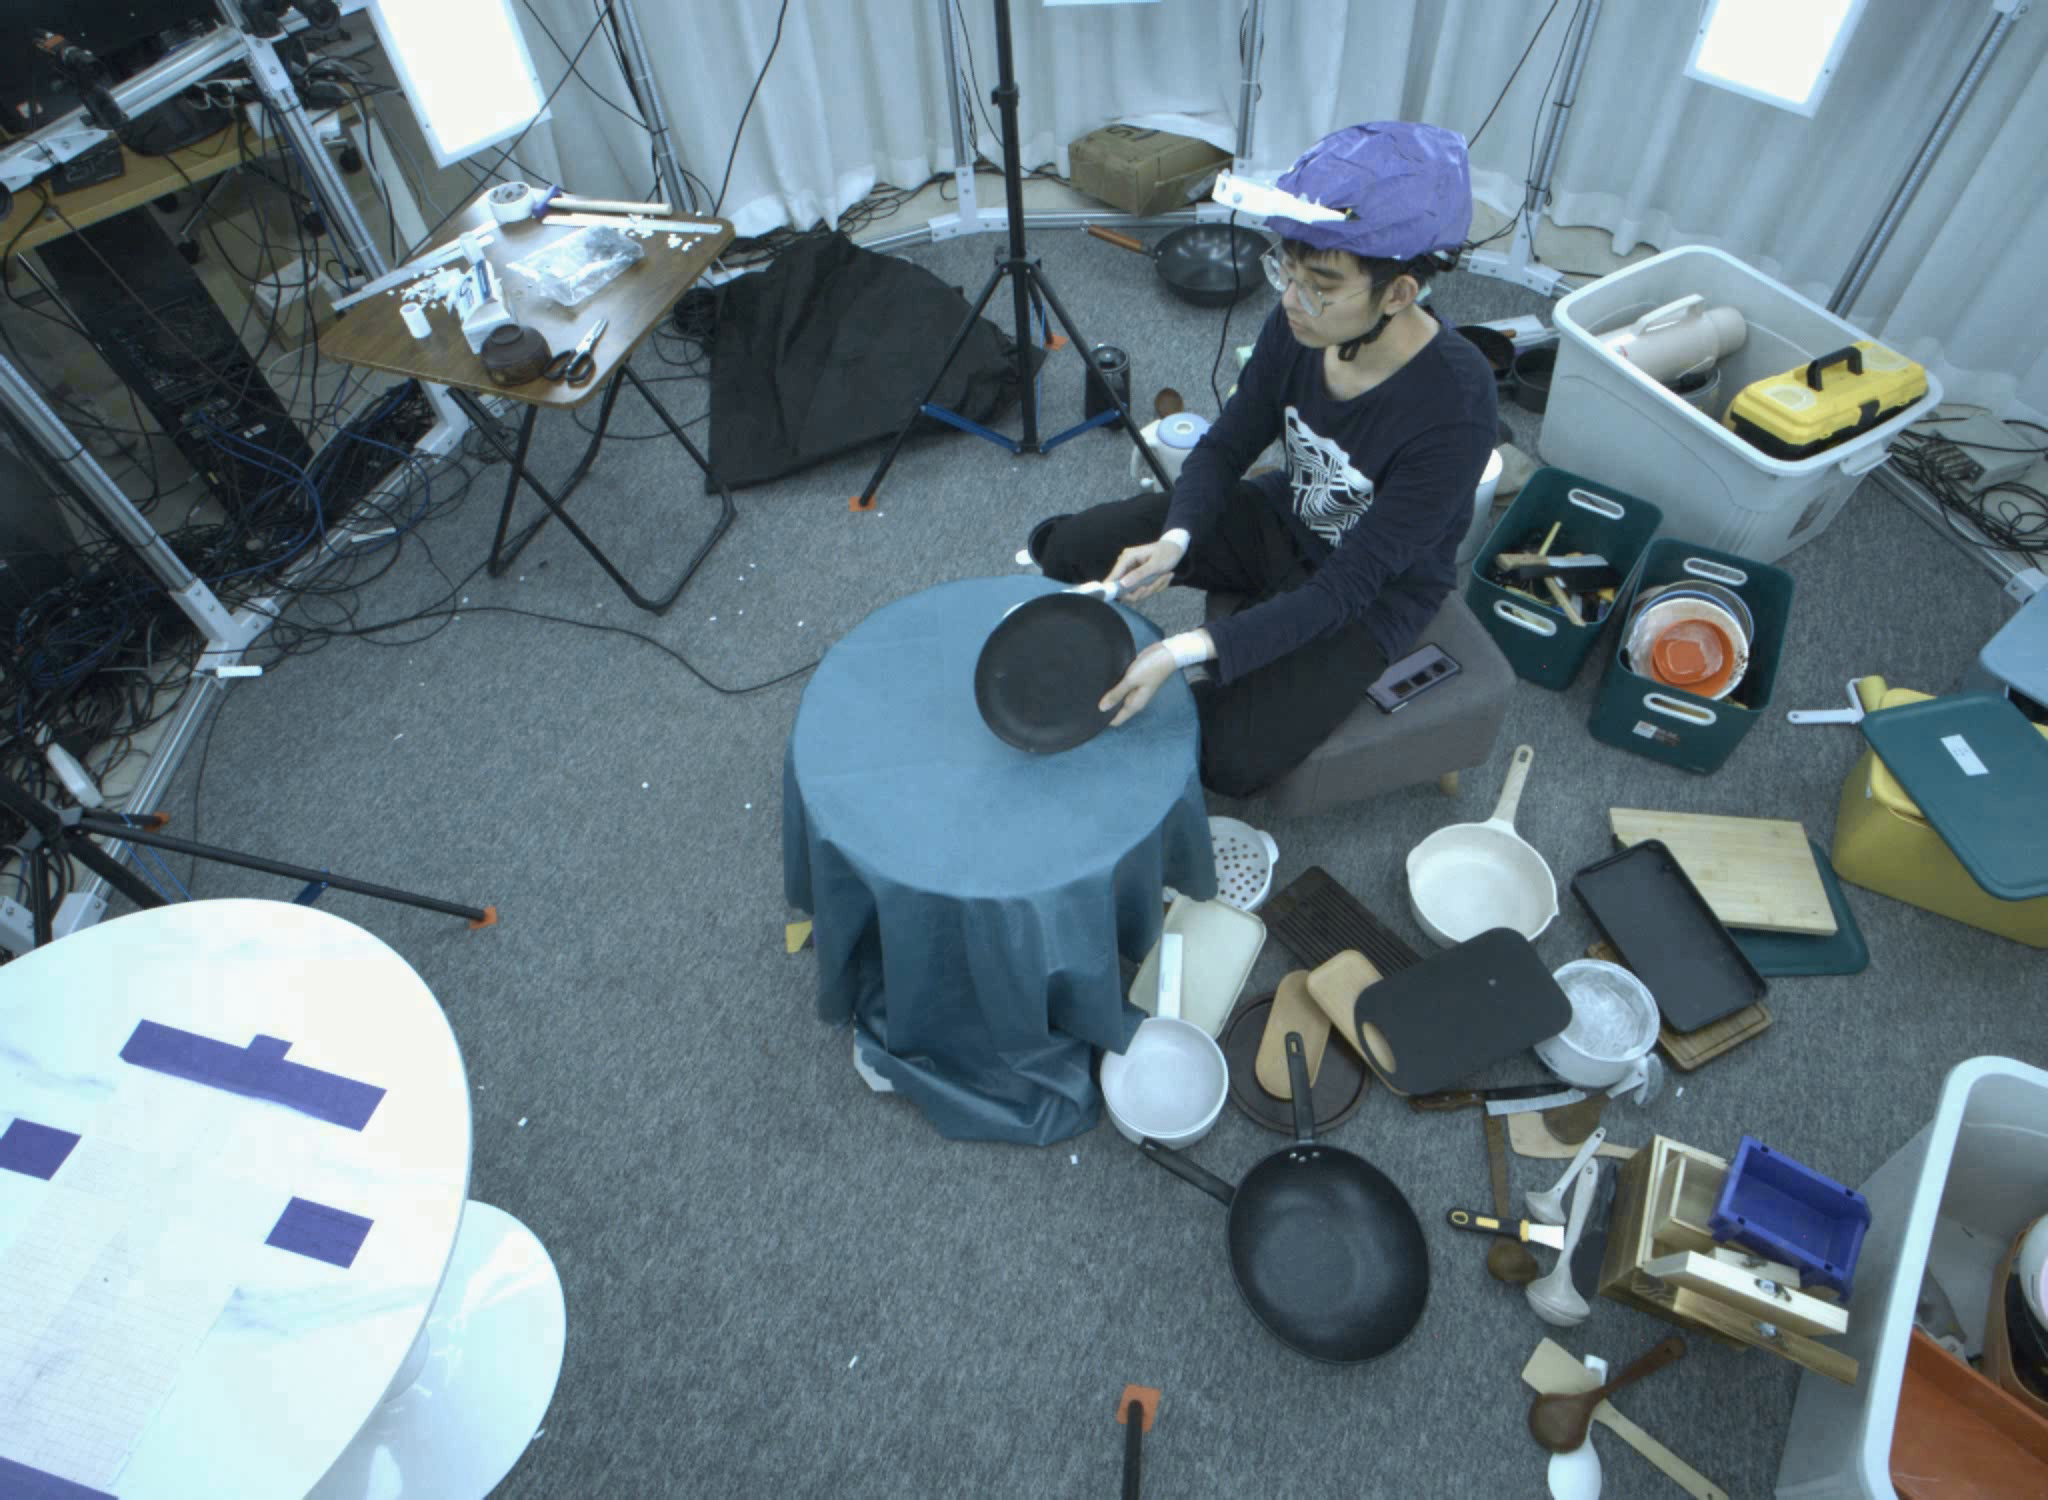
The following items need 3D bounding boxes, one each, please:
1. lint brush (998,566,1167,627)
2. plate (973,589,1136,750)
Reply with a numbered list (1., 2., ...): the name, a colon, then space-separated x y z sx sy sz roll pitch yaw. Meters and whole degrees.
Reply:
1. lint brush: 0.089 -0.221 1.775 0.313 0.060 0.020 -21 58 -32
2. plate: 0.042 -0.114 1.735 0.246 0.247 0.023 -21 33 -12
